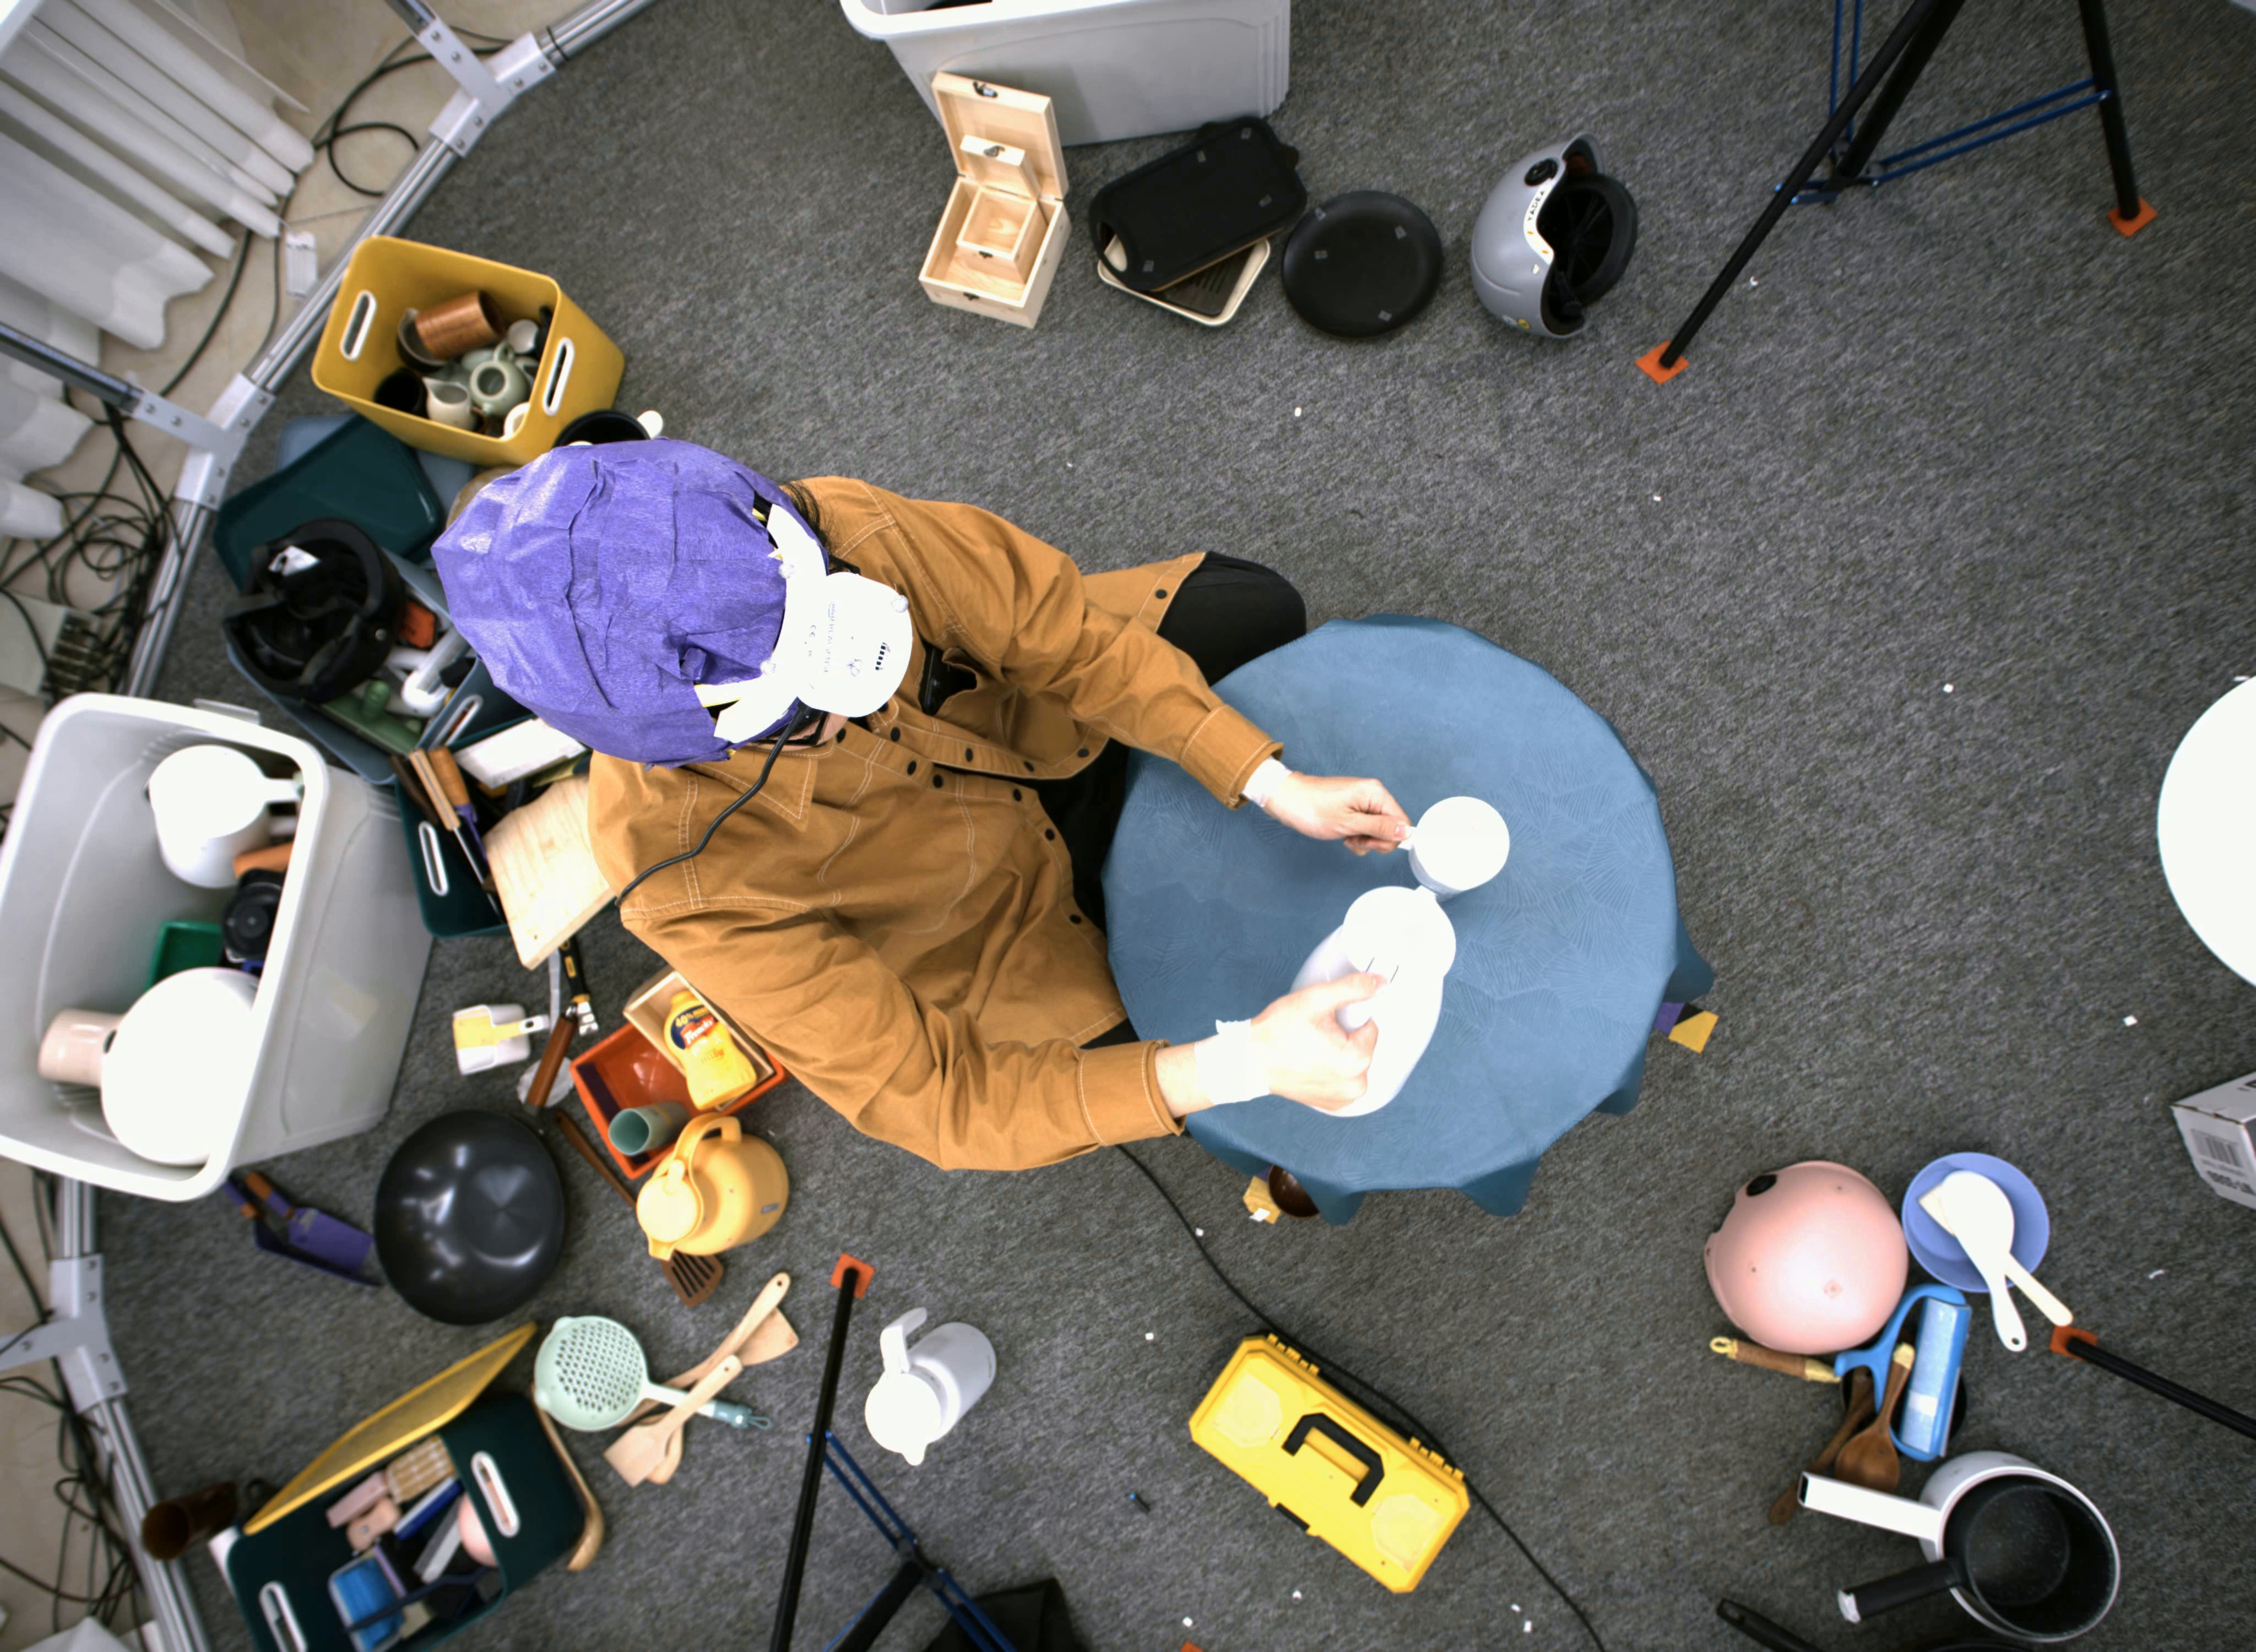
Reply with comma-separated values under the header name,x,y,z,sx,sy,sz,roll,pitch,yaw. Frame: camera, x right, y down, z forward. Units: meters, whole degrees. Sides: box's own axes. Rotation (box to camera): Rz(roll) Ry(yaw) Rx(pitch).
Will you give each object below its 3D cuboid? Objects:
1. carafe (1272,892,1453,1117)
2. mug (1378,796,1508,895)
name,x,y,z,sx,sy,sz,roll,pitch,yaw
carafe,0.200,0.165,1.201,0.132,0.254,0.164,32,64,13
mug,0.301,0.017,1.333,0.118,0.102,0.084,9,84,9
